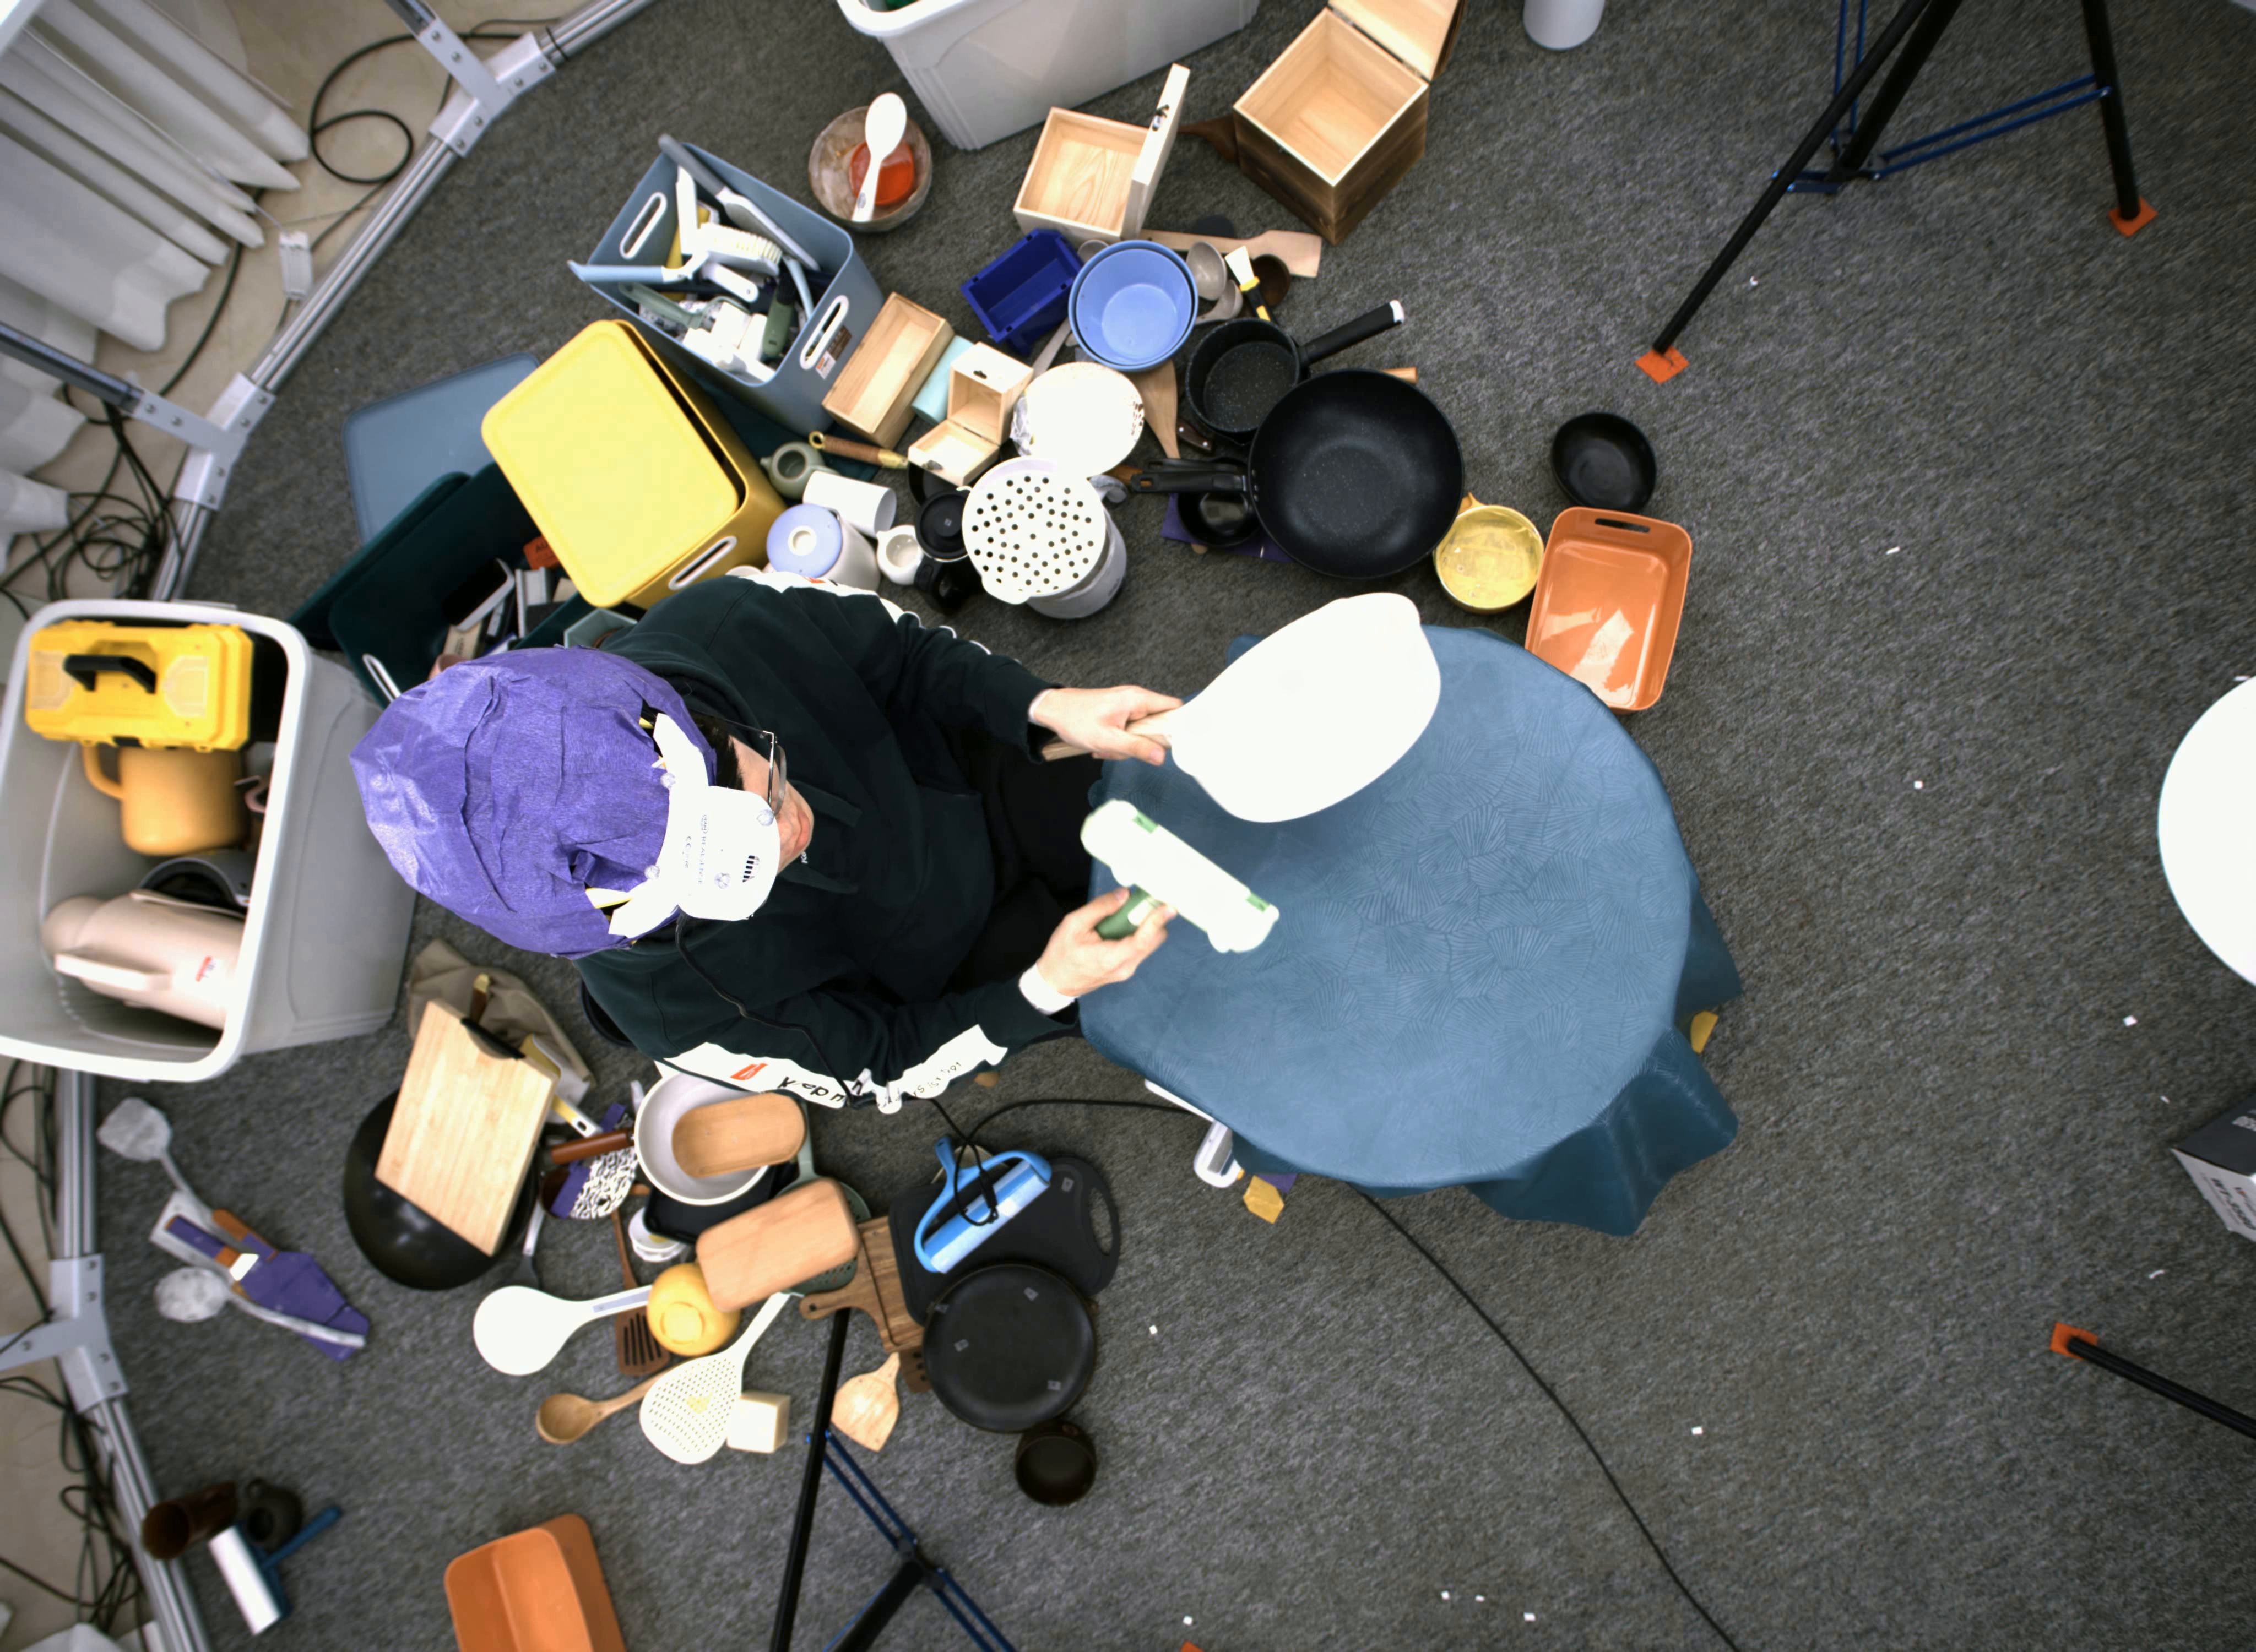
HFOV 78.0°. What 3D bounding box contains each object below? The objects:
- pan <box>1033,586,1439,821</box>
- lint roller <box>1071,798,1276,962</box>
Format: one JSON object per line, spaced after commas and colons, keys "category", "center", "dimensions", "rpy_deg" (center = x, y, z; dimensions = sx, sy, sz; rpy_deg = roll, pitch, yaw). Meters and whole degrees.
{"category": "pan", "center": [0.093, -0.091, 1.294], "dimensions": [0.441, 0.256, 0.103], "rpy_deg": [-15, 125, 42]}
{"category": "lint roller", "center": [0.008, 0.084, 1.291], "dimensions": [0.200, 0.080, 0.187], "rpy_deg": [34, 117, -22]}
